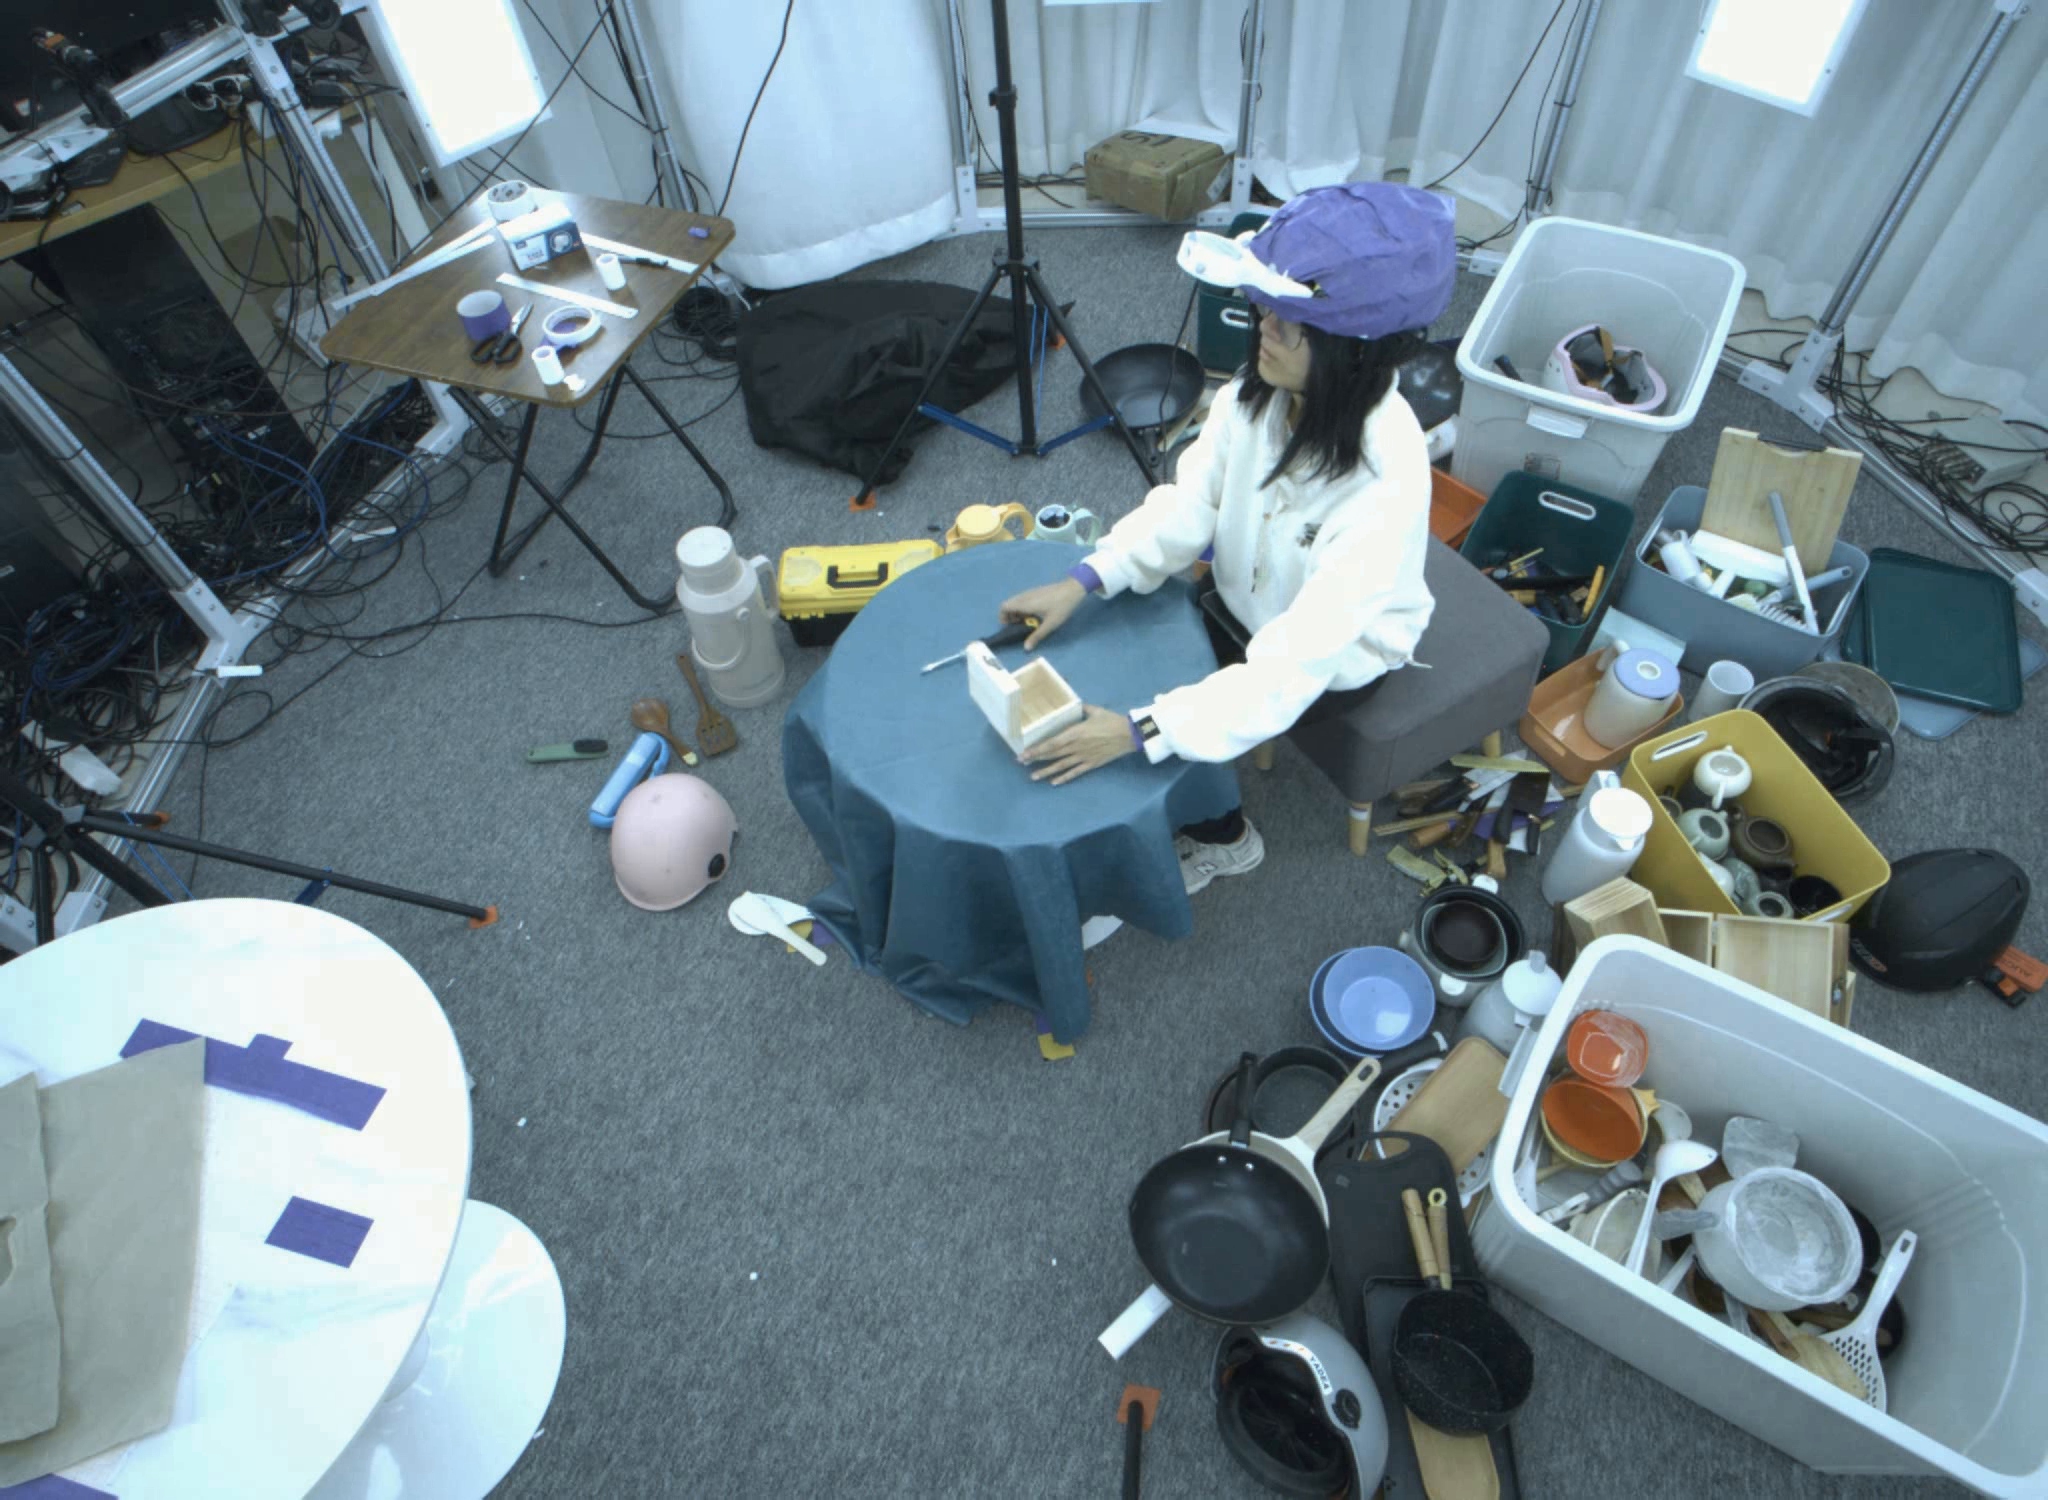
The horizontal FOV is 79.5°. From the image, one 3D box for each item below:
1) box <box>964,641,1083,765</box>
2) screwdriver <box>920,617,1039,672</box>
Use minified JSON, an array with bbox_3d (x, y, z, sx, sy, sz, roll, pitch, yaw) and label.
[{"bbox_3d":[0.003,-0.083,1.733,0.135,0.187,0.100,-30,57,-16],"label":"box"},{"bbox_3d":[-0.070,-0.163,1.891,0.199,0.032,0.031,-20,56,-9],"label":"screwdriver"}]
